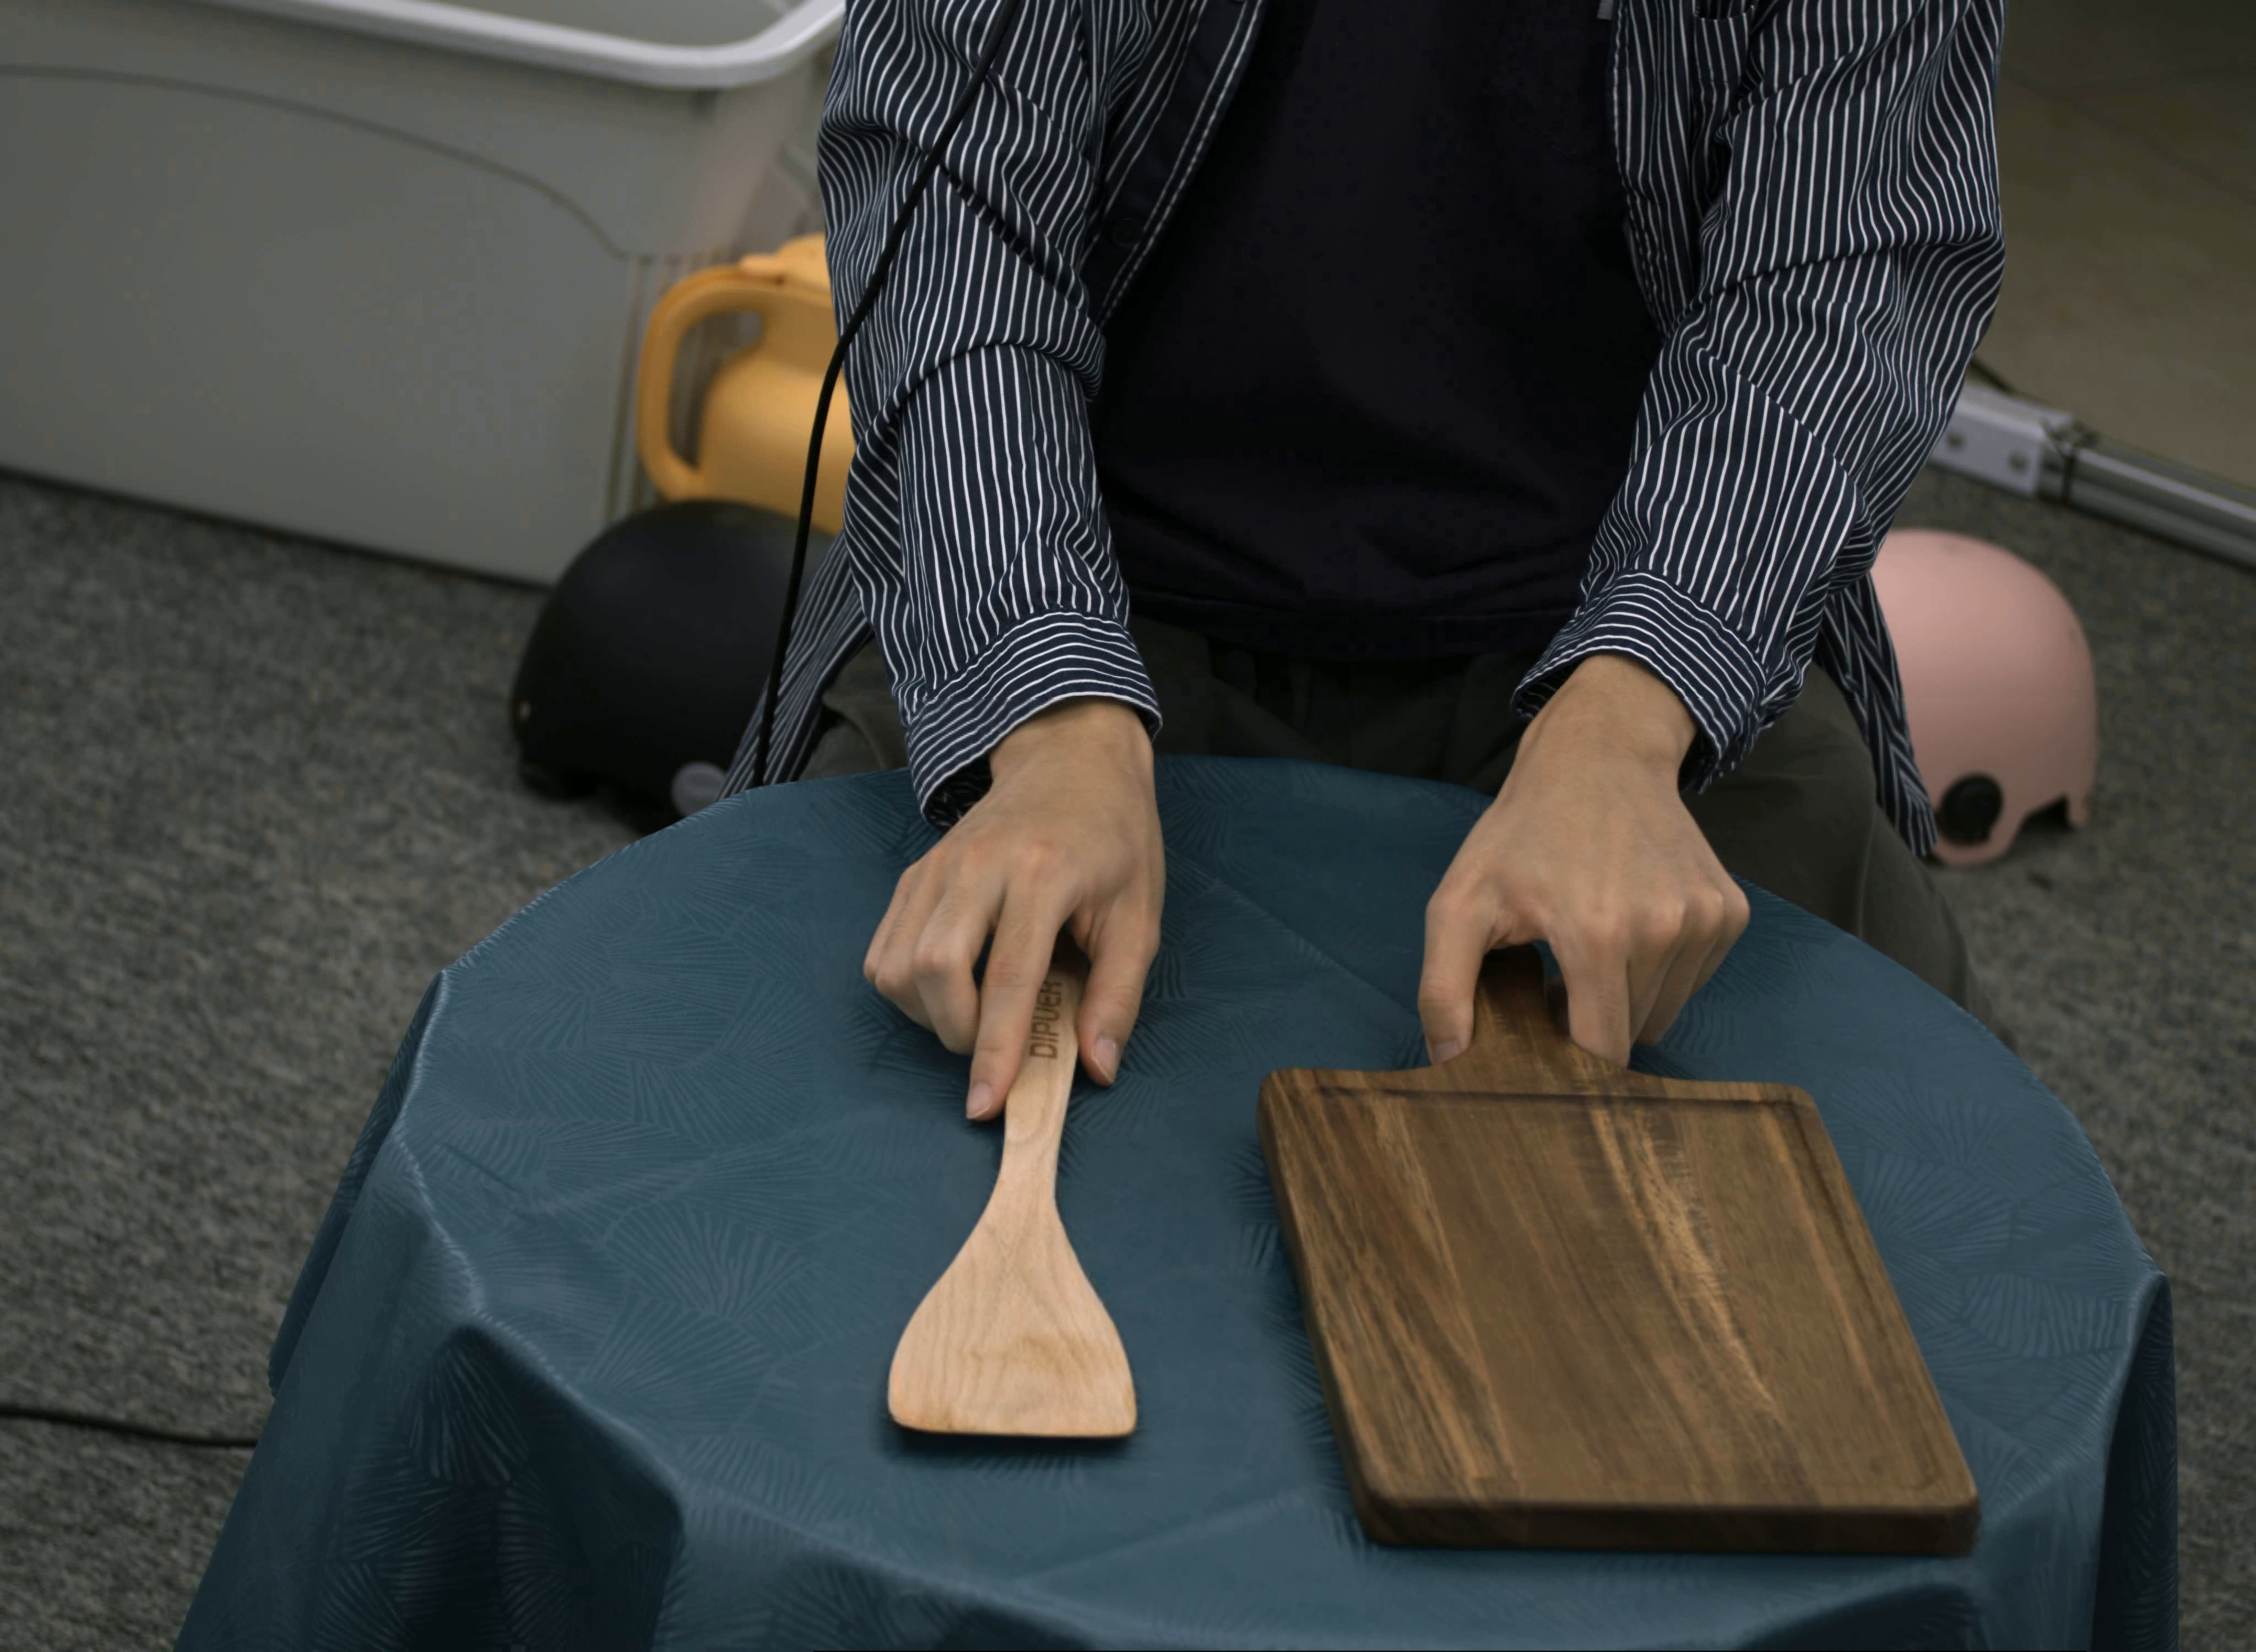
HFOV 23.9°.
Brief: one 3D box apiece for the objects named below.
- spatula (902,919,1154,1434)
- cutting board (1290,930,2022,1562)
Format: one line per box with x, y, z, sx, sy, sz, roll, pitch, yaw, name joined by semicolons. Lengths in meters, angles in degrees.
-0.029;0.113;1.789;0.079;0.016;0.329;7;30;-3;spatula
0.162;0.132;1.782;0.200;0.023;0.355;2;29;-8;cutting board
